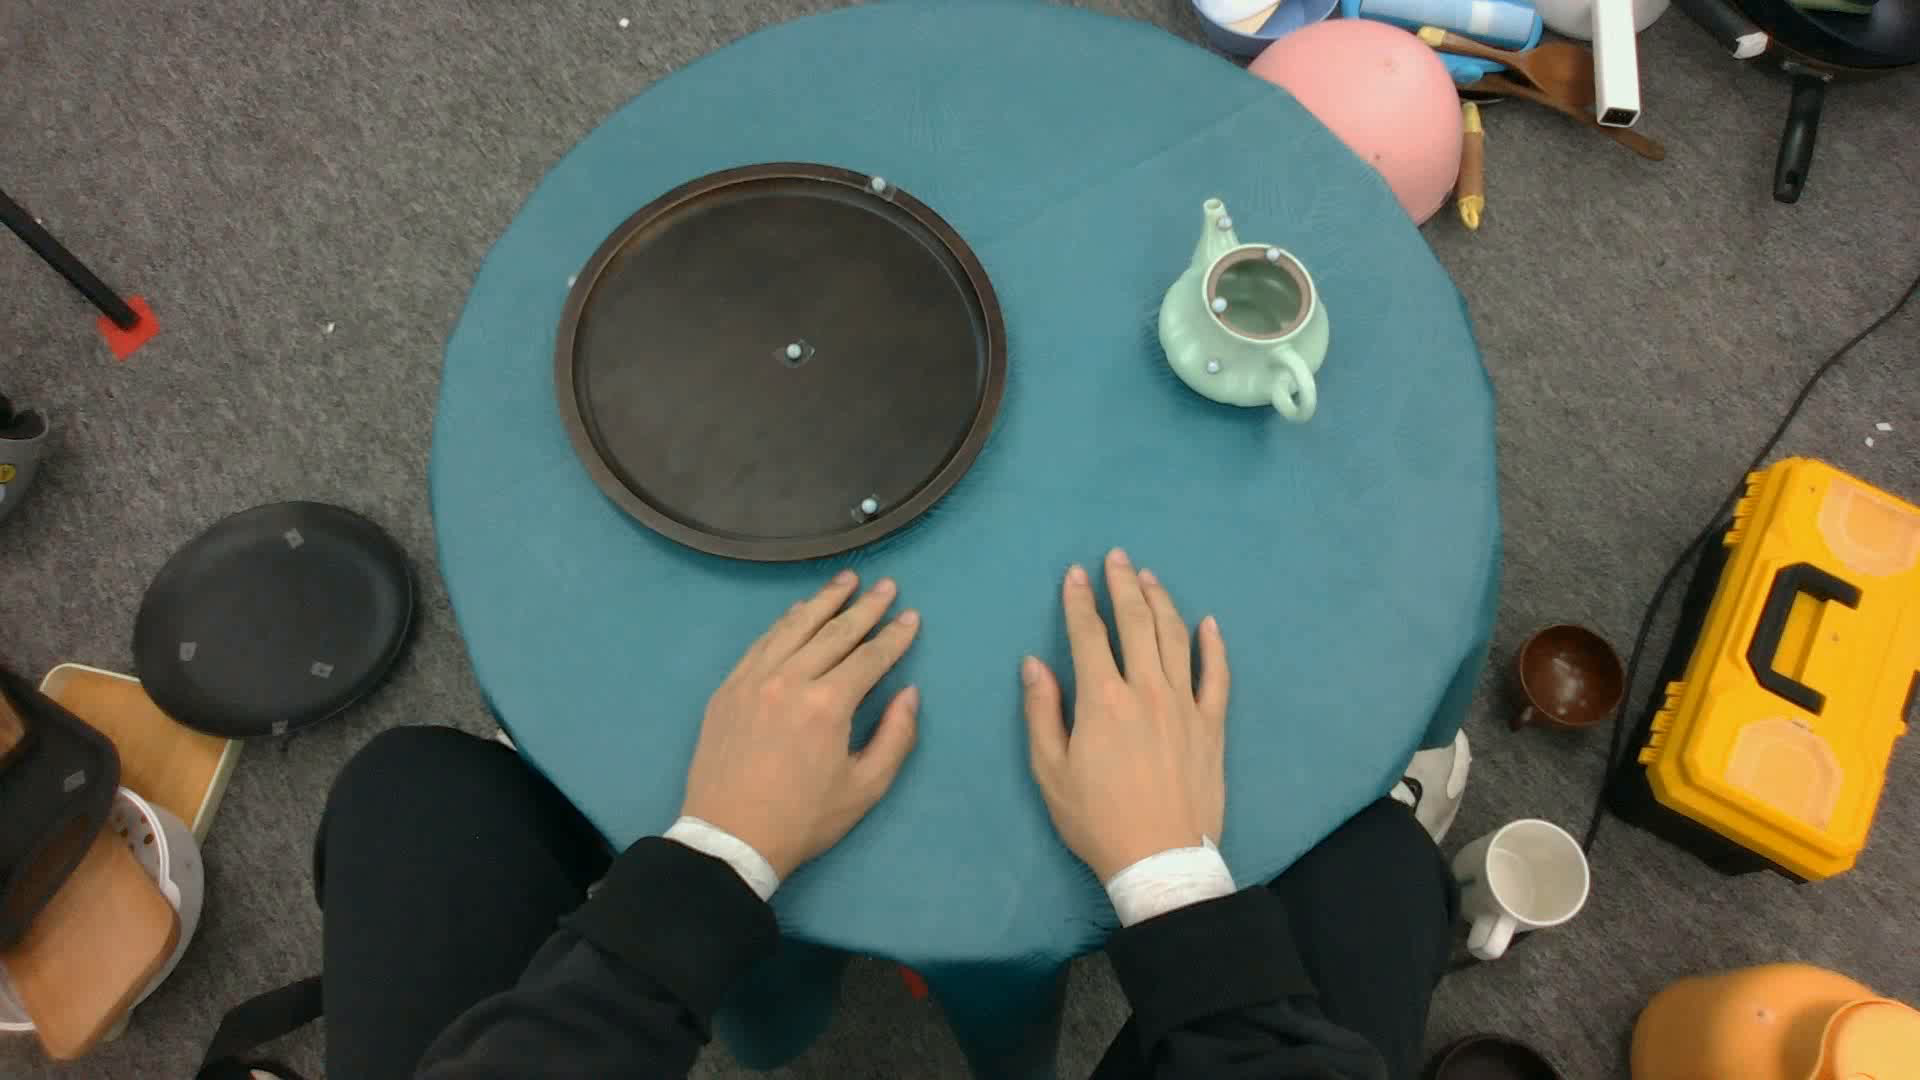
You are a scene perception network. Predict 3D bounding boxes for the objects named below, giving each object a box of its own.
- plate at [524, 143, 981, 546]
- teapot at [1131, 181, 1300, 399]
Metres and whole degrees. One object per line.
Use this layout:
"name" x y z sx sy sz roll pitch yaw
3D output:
"plate" -0.115 -0.113 0.775 0.255 0.029 0.255 1 68 -3
"teapot" 0.149 -0.133 0.774 0.096 0.061 0.137 -22 71 -12
